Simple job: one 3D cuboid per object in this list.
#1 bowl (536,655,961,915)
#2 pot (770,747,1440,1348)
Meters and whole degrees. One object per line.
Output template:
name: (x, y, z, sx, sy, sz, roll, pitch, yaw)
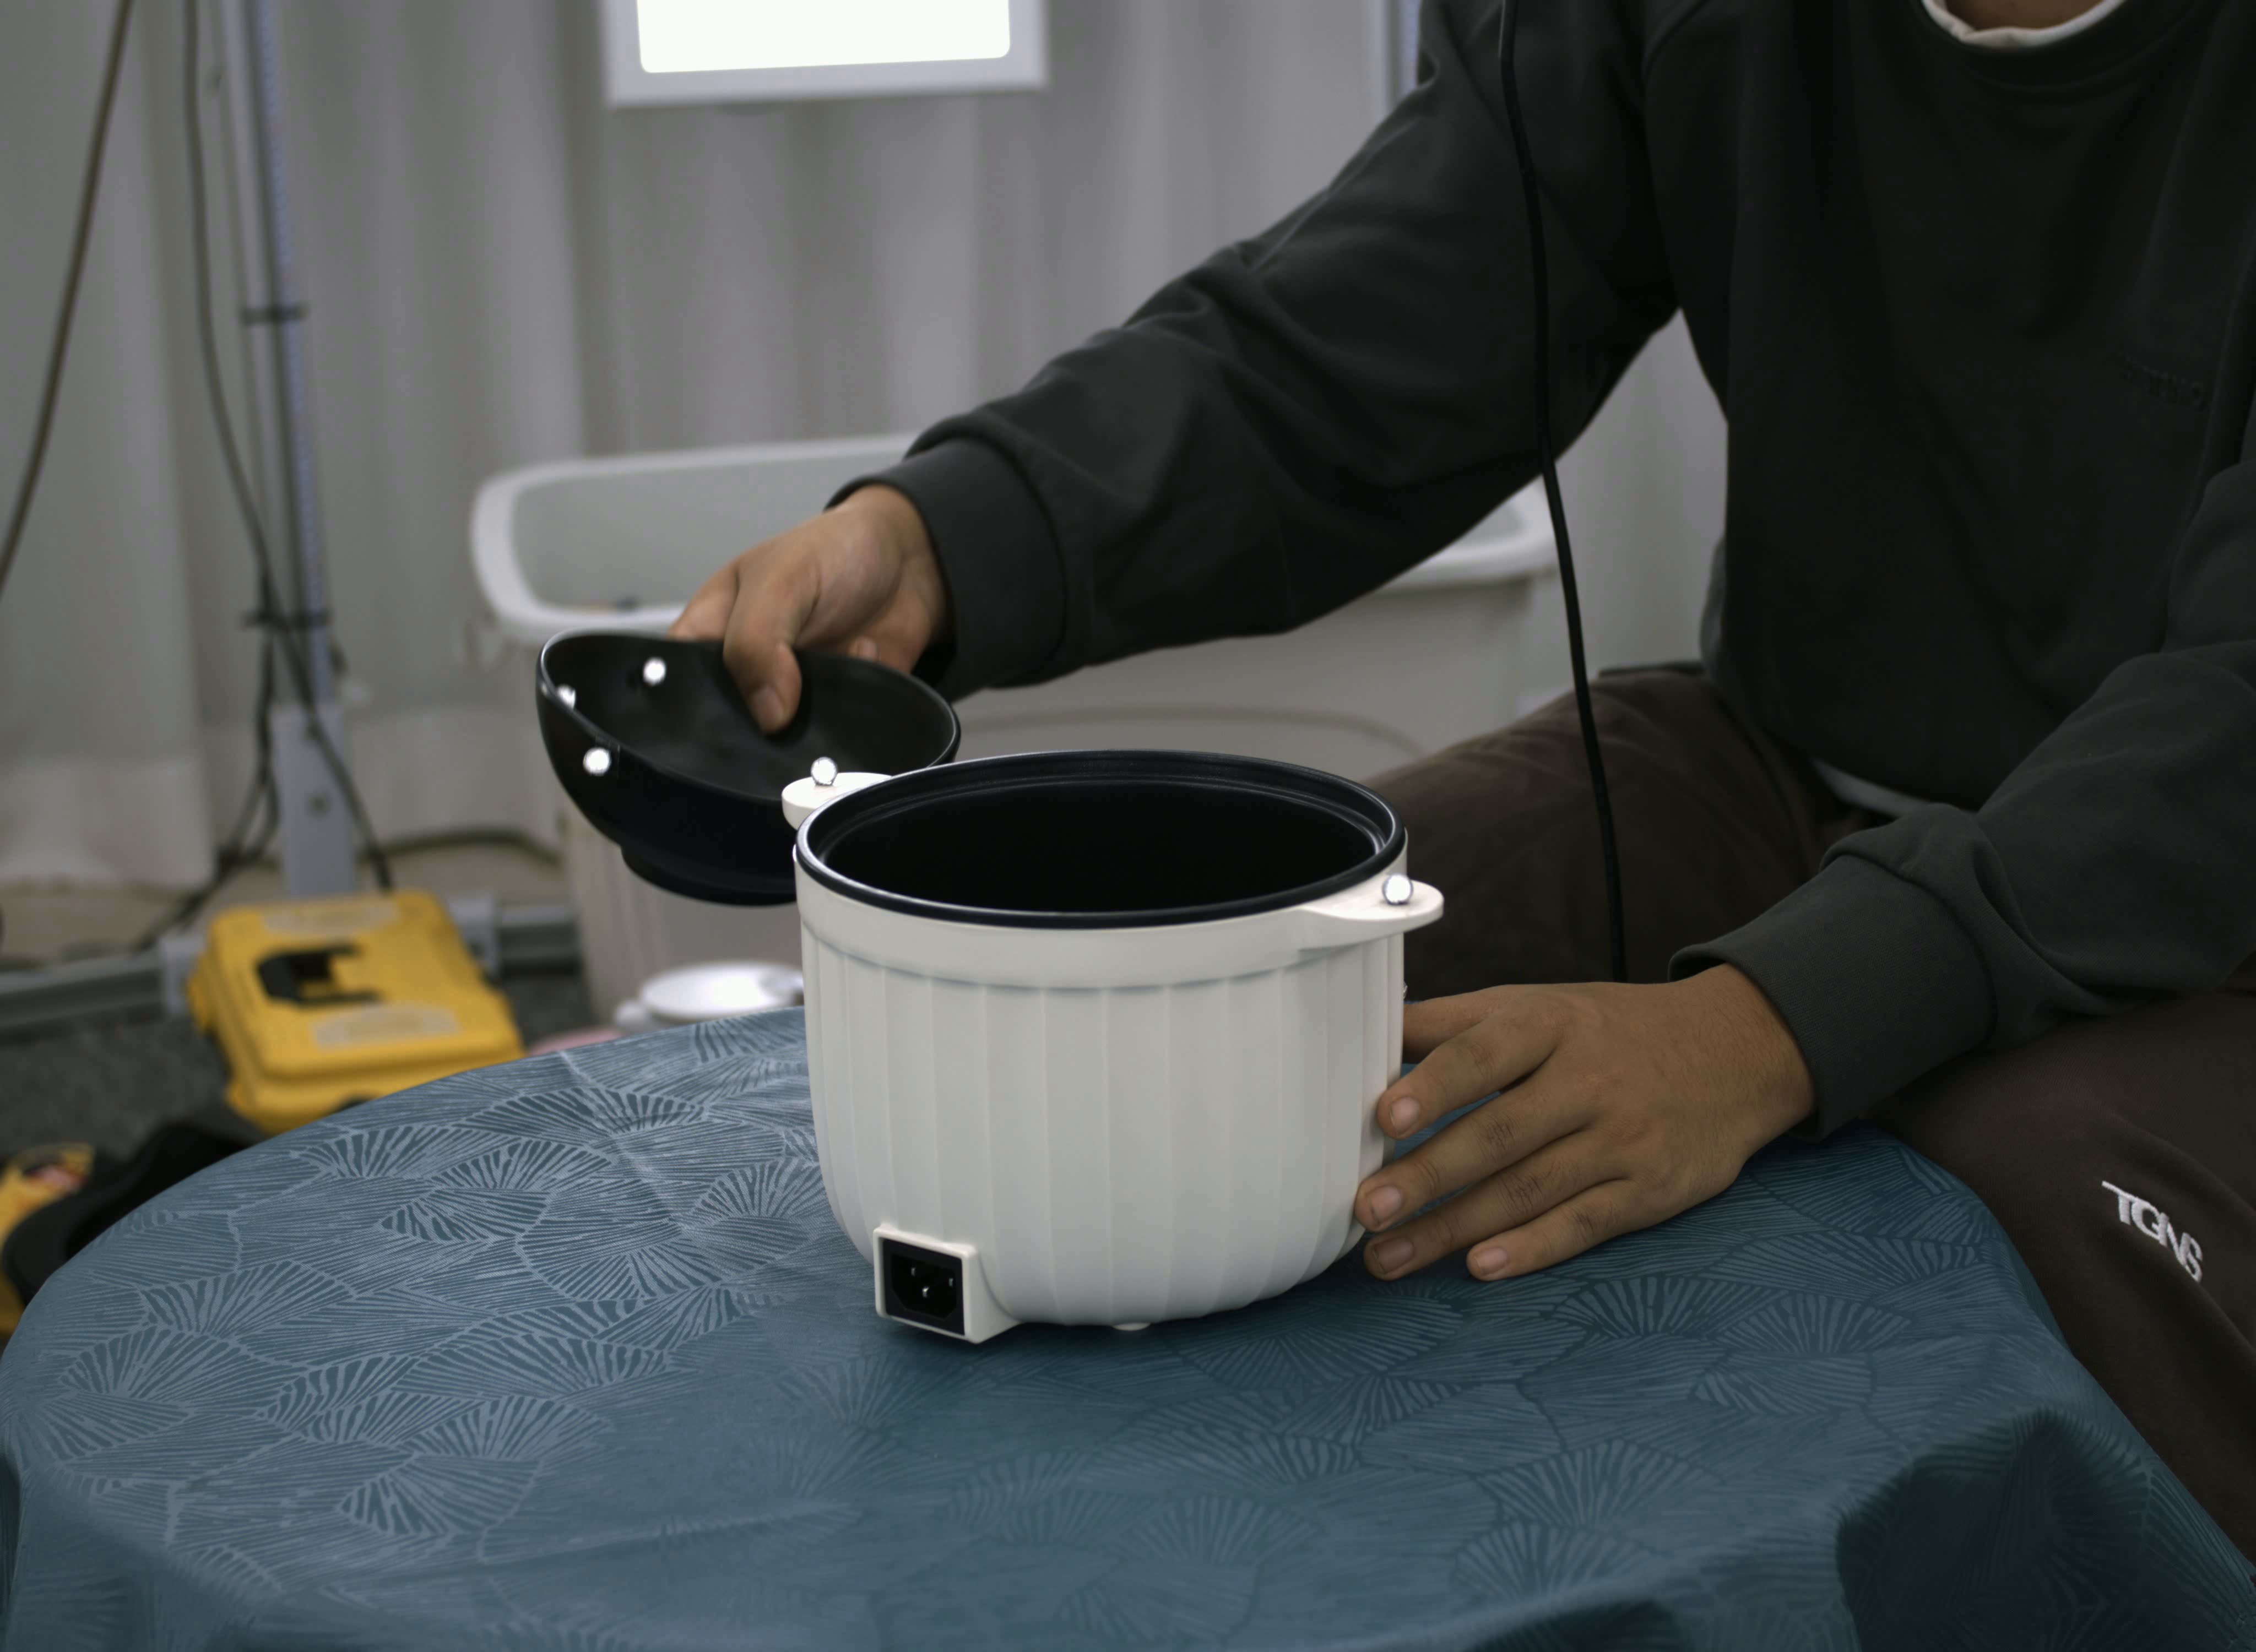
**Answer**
bowl: (-0.127, -0.012, 1.777, 0.136, 0.066, 0.172, 4, 18, -14)
pot: (-0.006, 0.063, 1.641, 0.241, 0.142, 0.190, 12, 23, 36)
